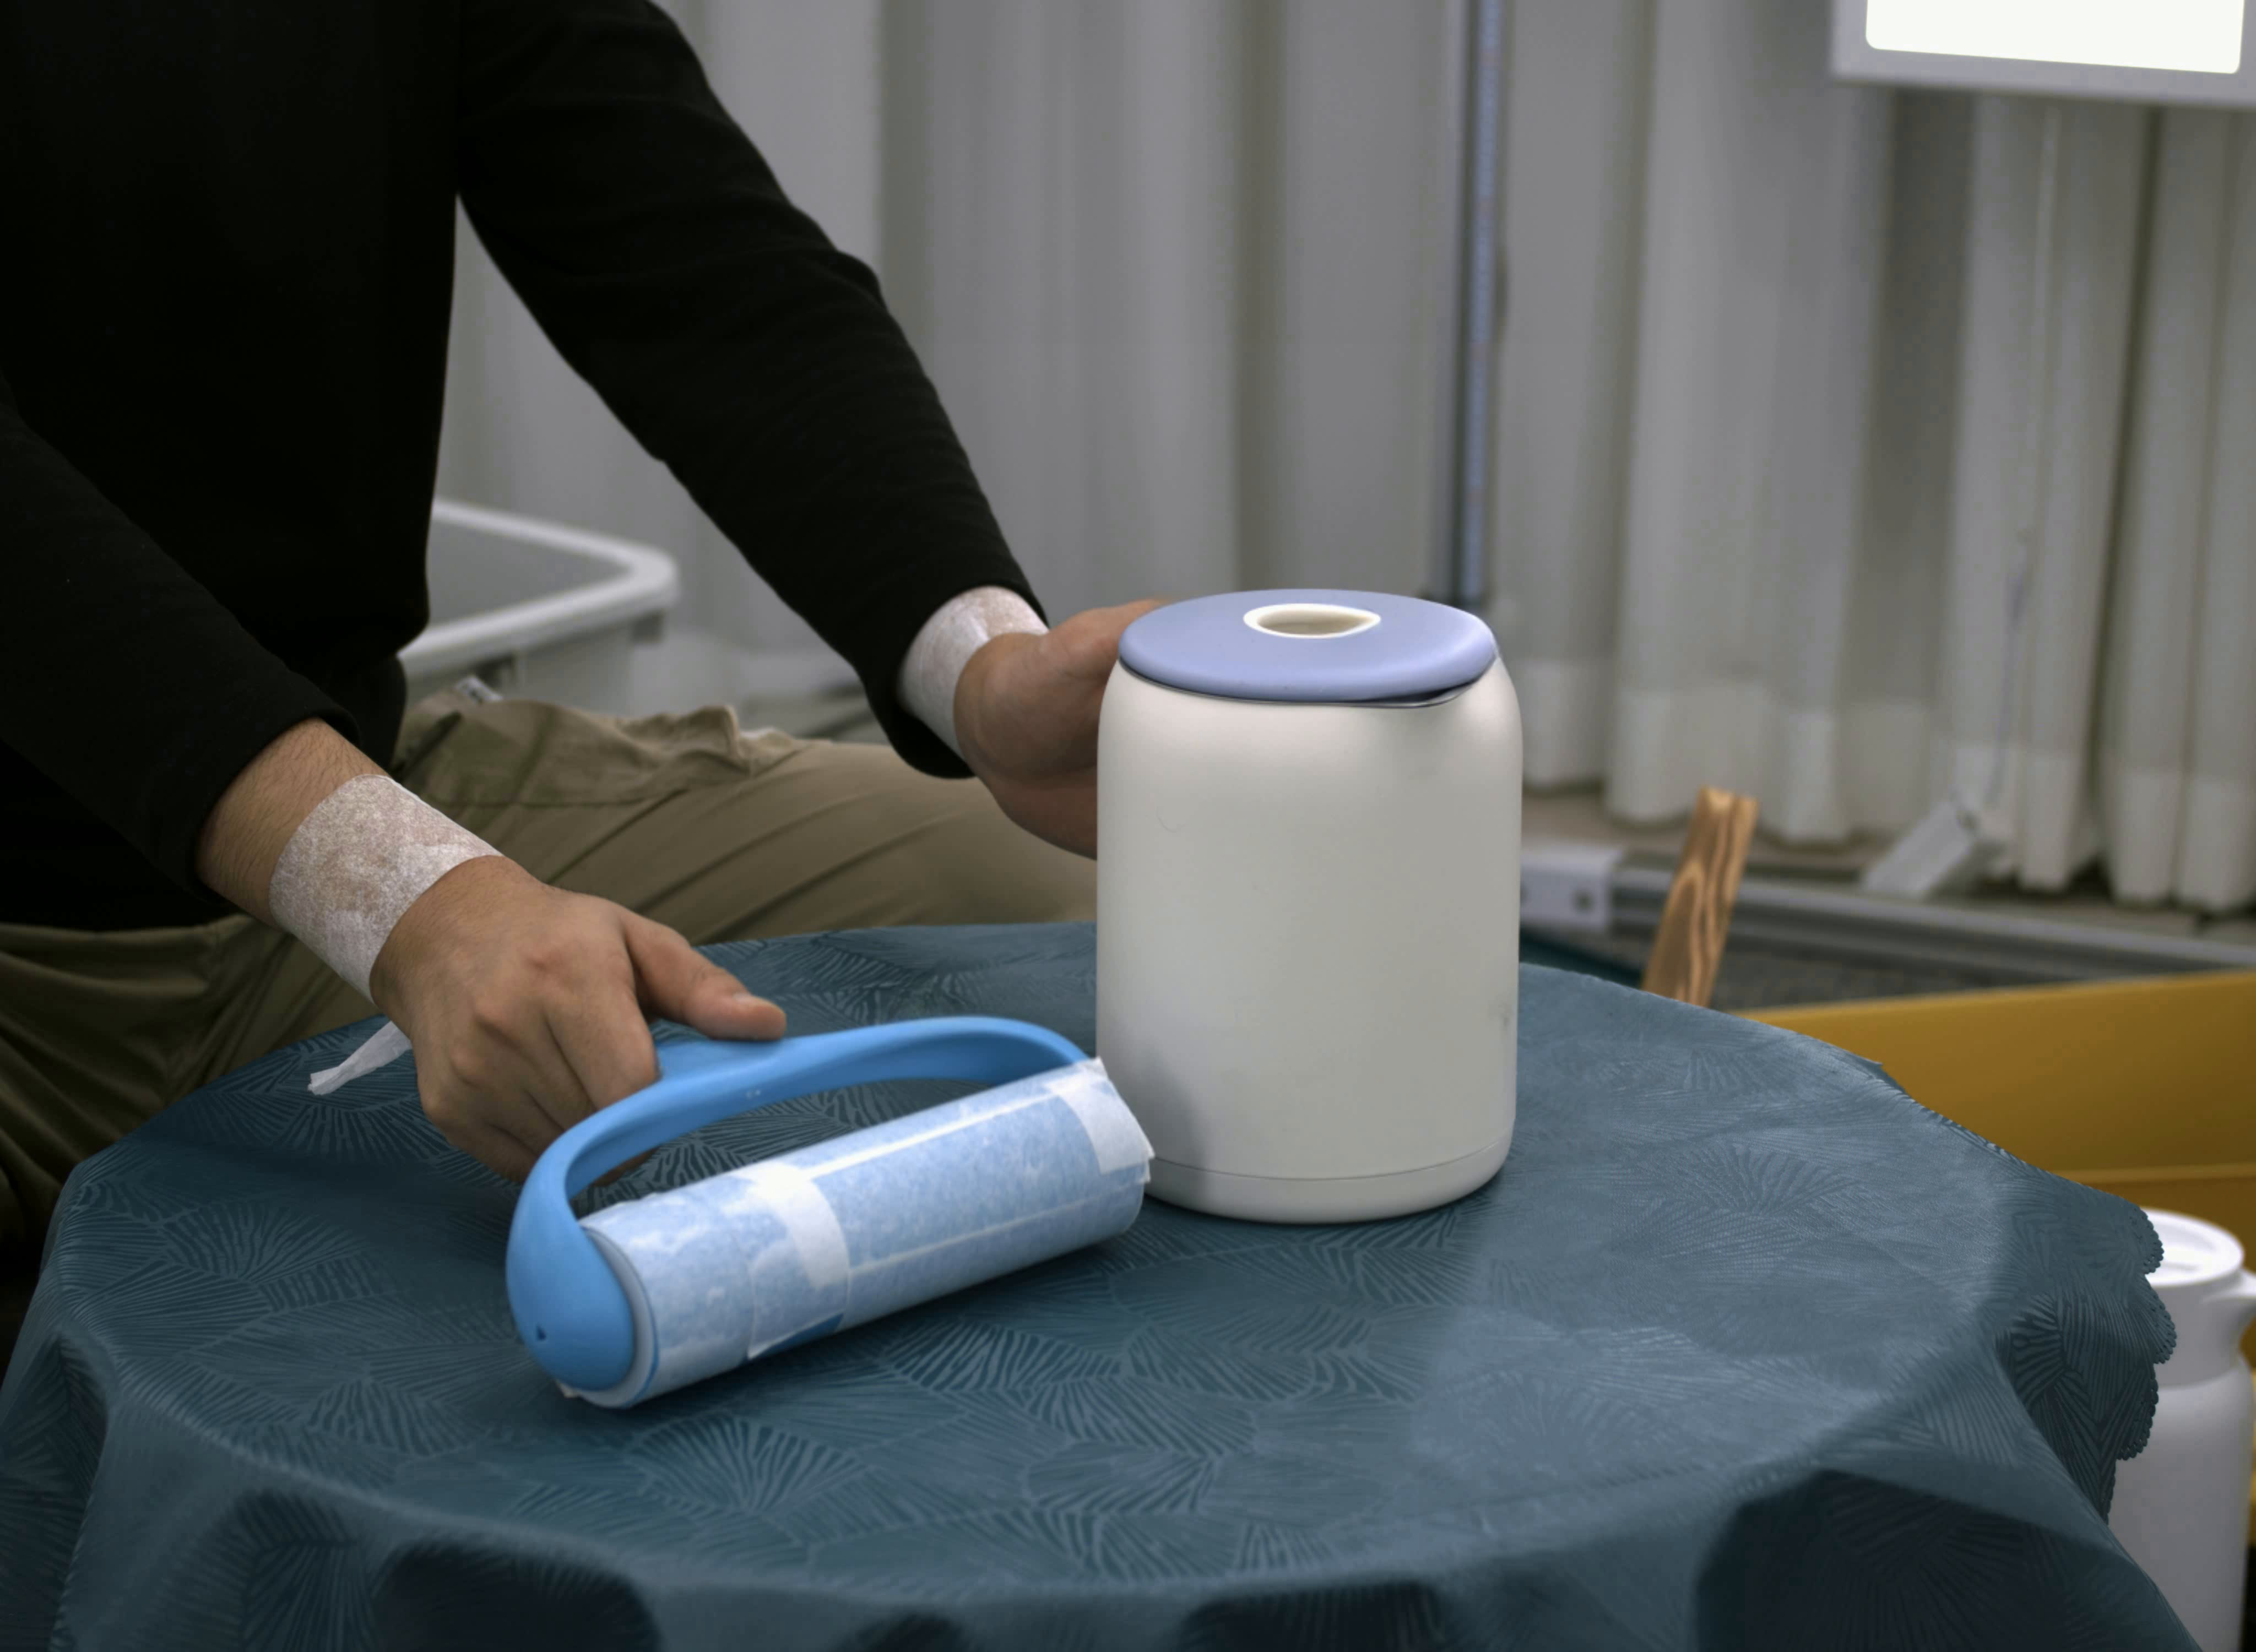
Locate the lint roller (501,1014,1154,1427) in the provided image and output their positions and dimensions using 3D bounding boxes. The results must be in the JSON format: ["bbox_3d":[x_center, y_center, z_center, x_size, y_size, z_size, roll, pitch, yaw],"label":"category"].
[{"bbox_3d":[-0.122,0.093,1.538,0.178,0.068,0.230,29,34,34],"label":"lint roller"}]

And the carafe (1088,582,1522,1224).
[{"bbox_3d":[0.043,0.017,1.642,0.133,0.184,0.188,-9,16,-30],"label":"carafe"}]
